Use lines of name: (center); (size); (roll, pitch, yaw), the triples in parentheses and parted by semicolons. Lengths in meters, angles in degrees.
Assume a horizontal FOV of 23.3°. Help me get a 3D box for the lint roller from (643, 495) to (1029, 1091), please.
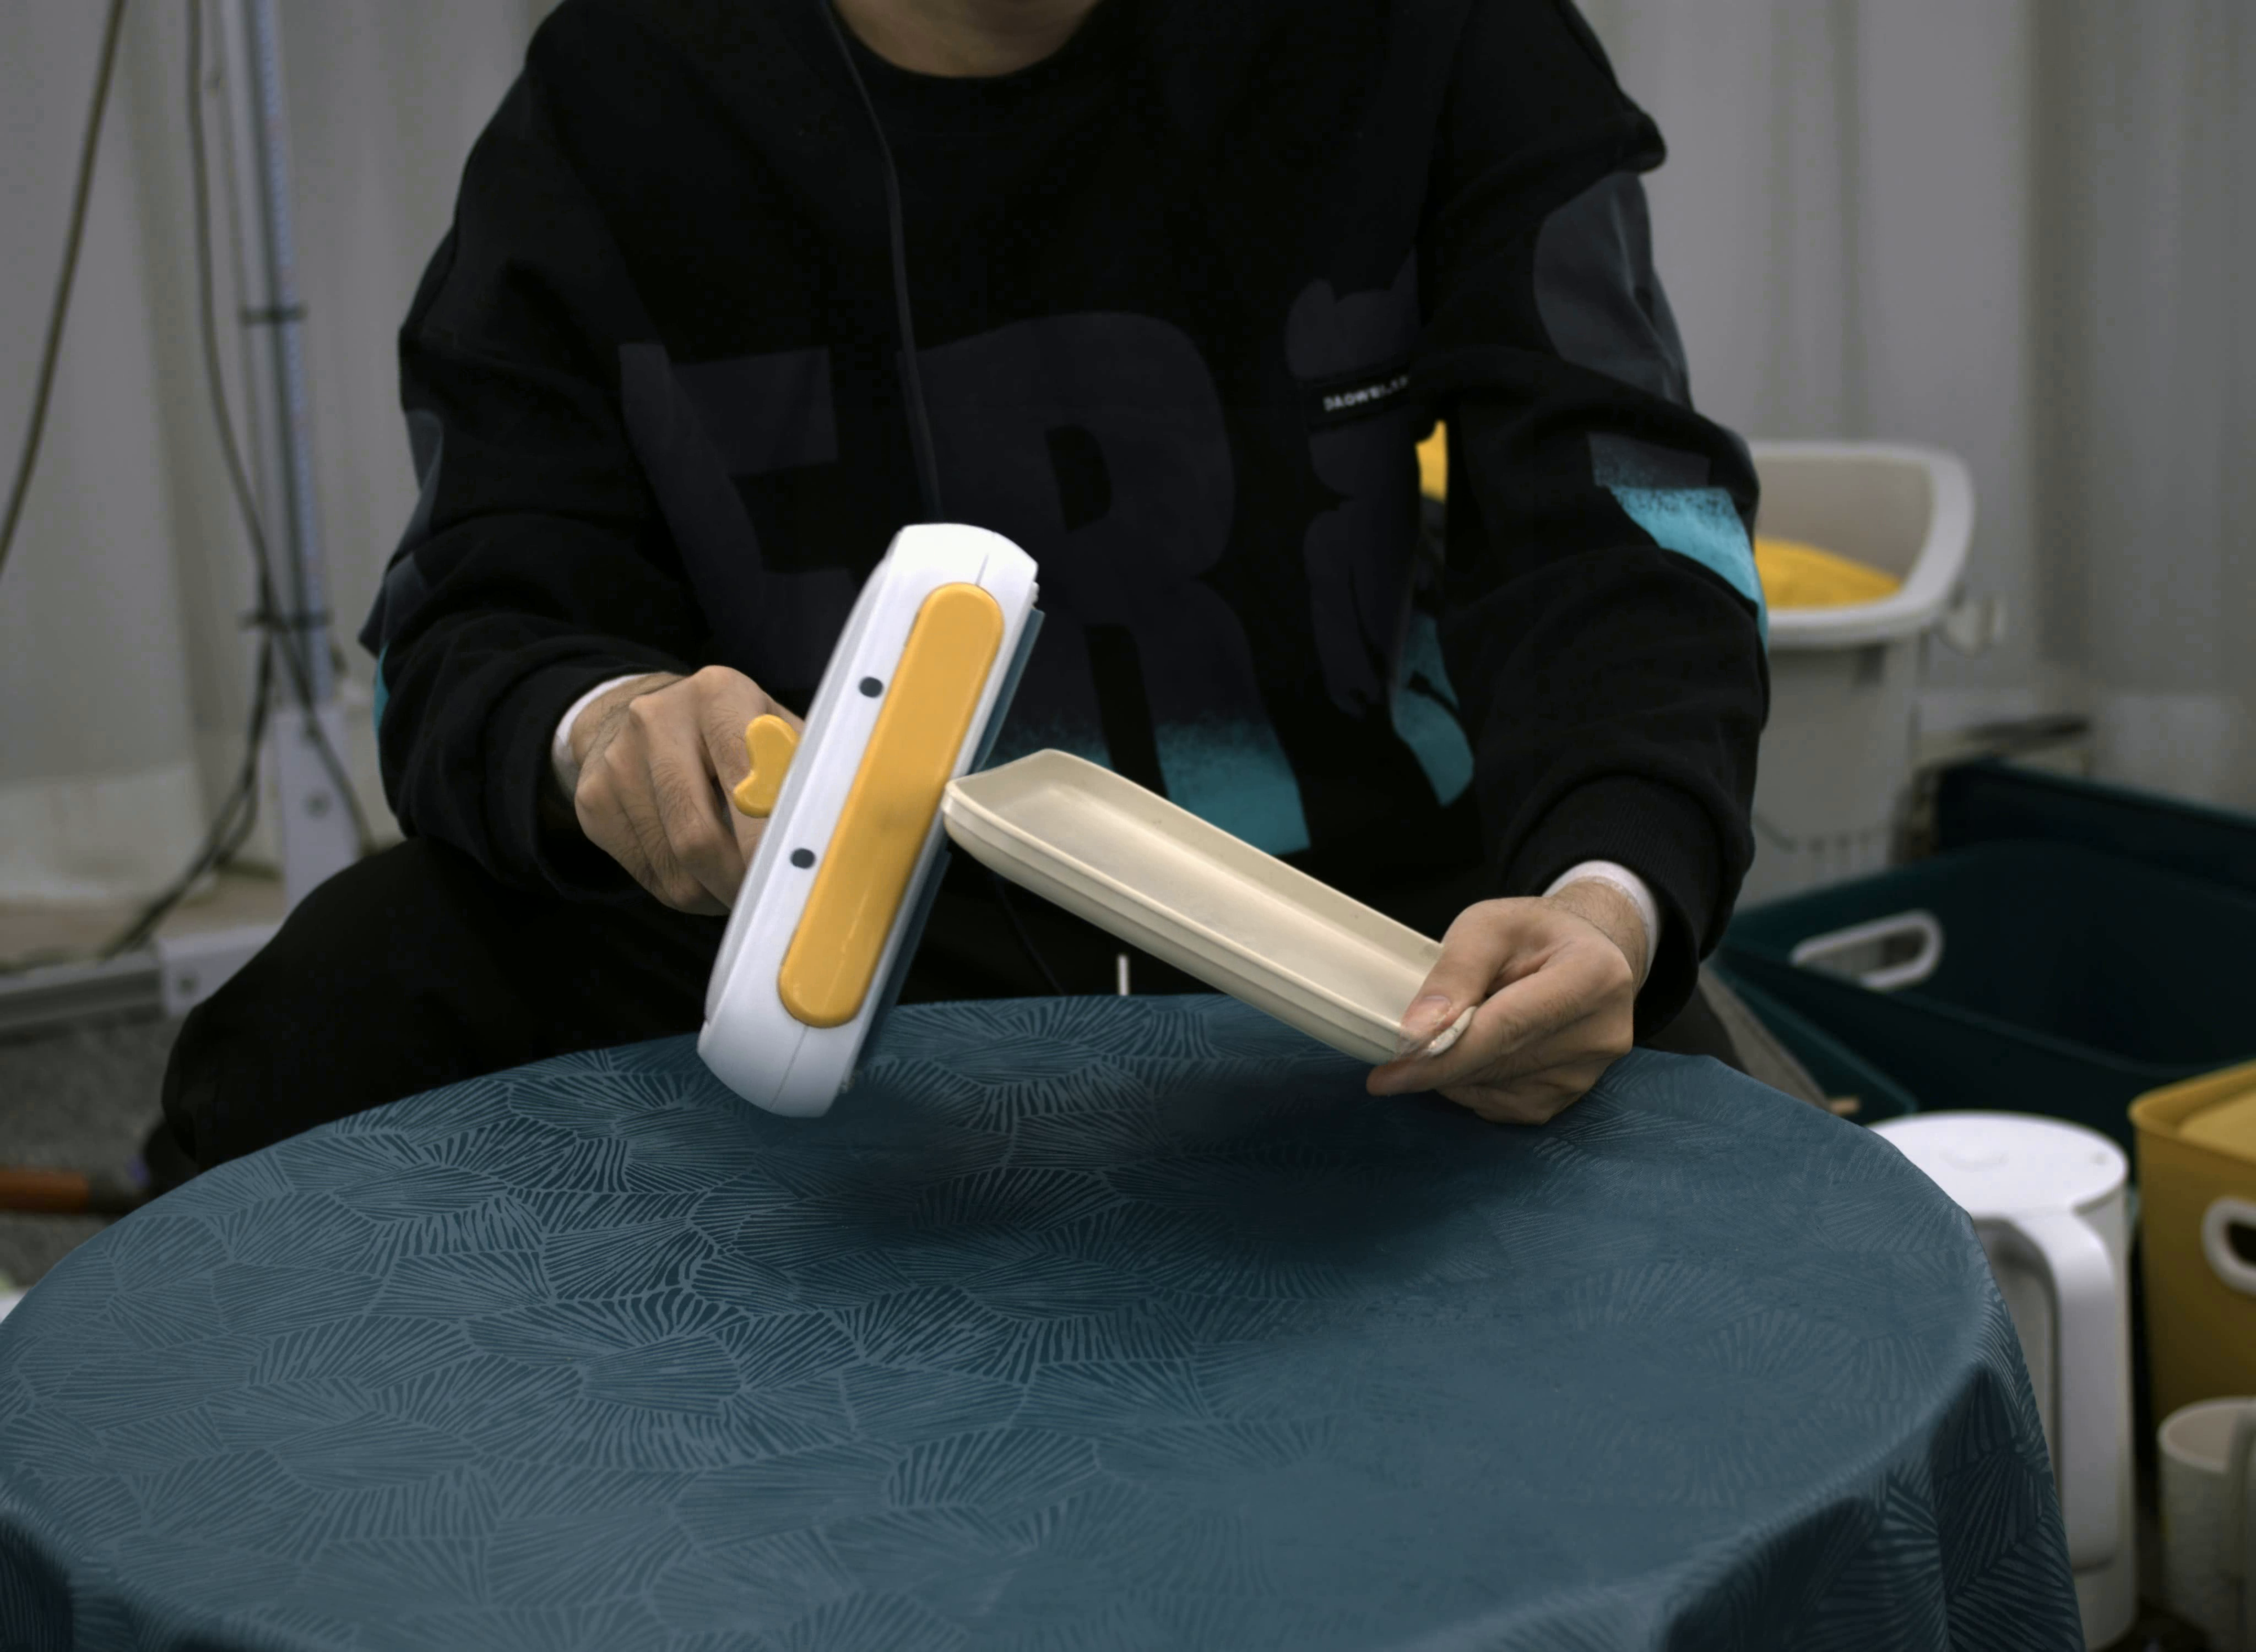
lint roller: (-0.104, -0.004, 1.745); (0.073, 0.194, 0.192); (19, -16, -14)

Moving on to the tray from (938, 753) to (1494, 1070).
tray: (0.030, 0.026, 1.712); (0.171, 0.017, 0.239); (27, 7, 7)
